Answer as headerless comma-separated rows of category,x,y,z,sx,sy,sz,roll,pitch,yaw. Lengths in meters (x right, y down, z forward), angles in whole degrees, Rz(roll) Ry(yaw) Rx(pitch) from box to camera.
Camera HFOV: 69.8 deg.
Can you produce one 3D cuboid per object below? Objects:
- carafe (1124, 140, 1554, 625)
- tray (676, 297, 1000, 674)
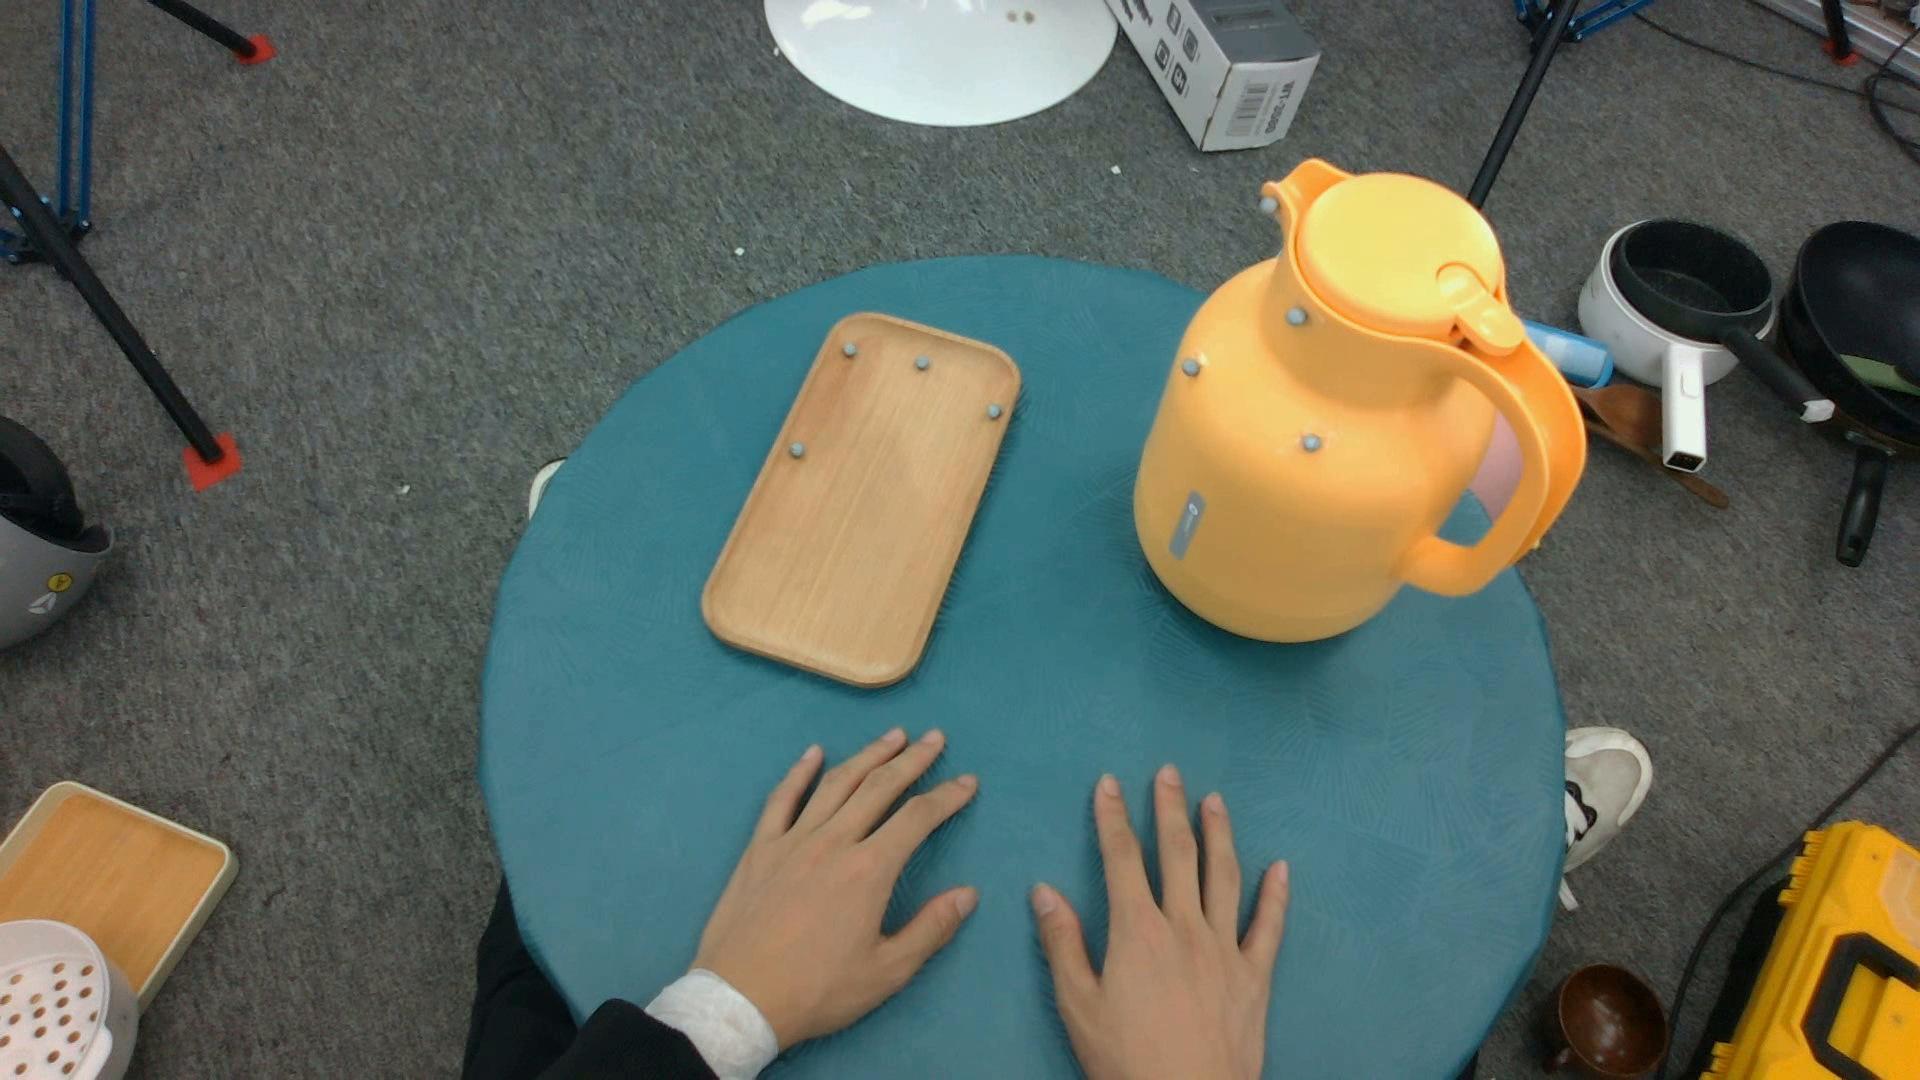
carafe,0.189,-0.062,0.704,0.164,0.259,0.202,-31,64,-18
tray,-0.066,-0.039,0.811,0.130,0.023,0.252,16,59,8
